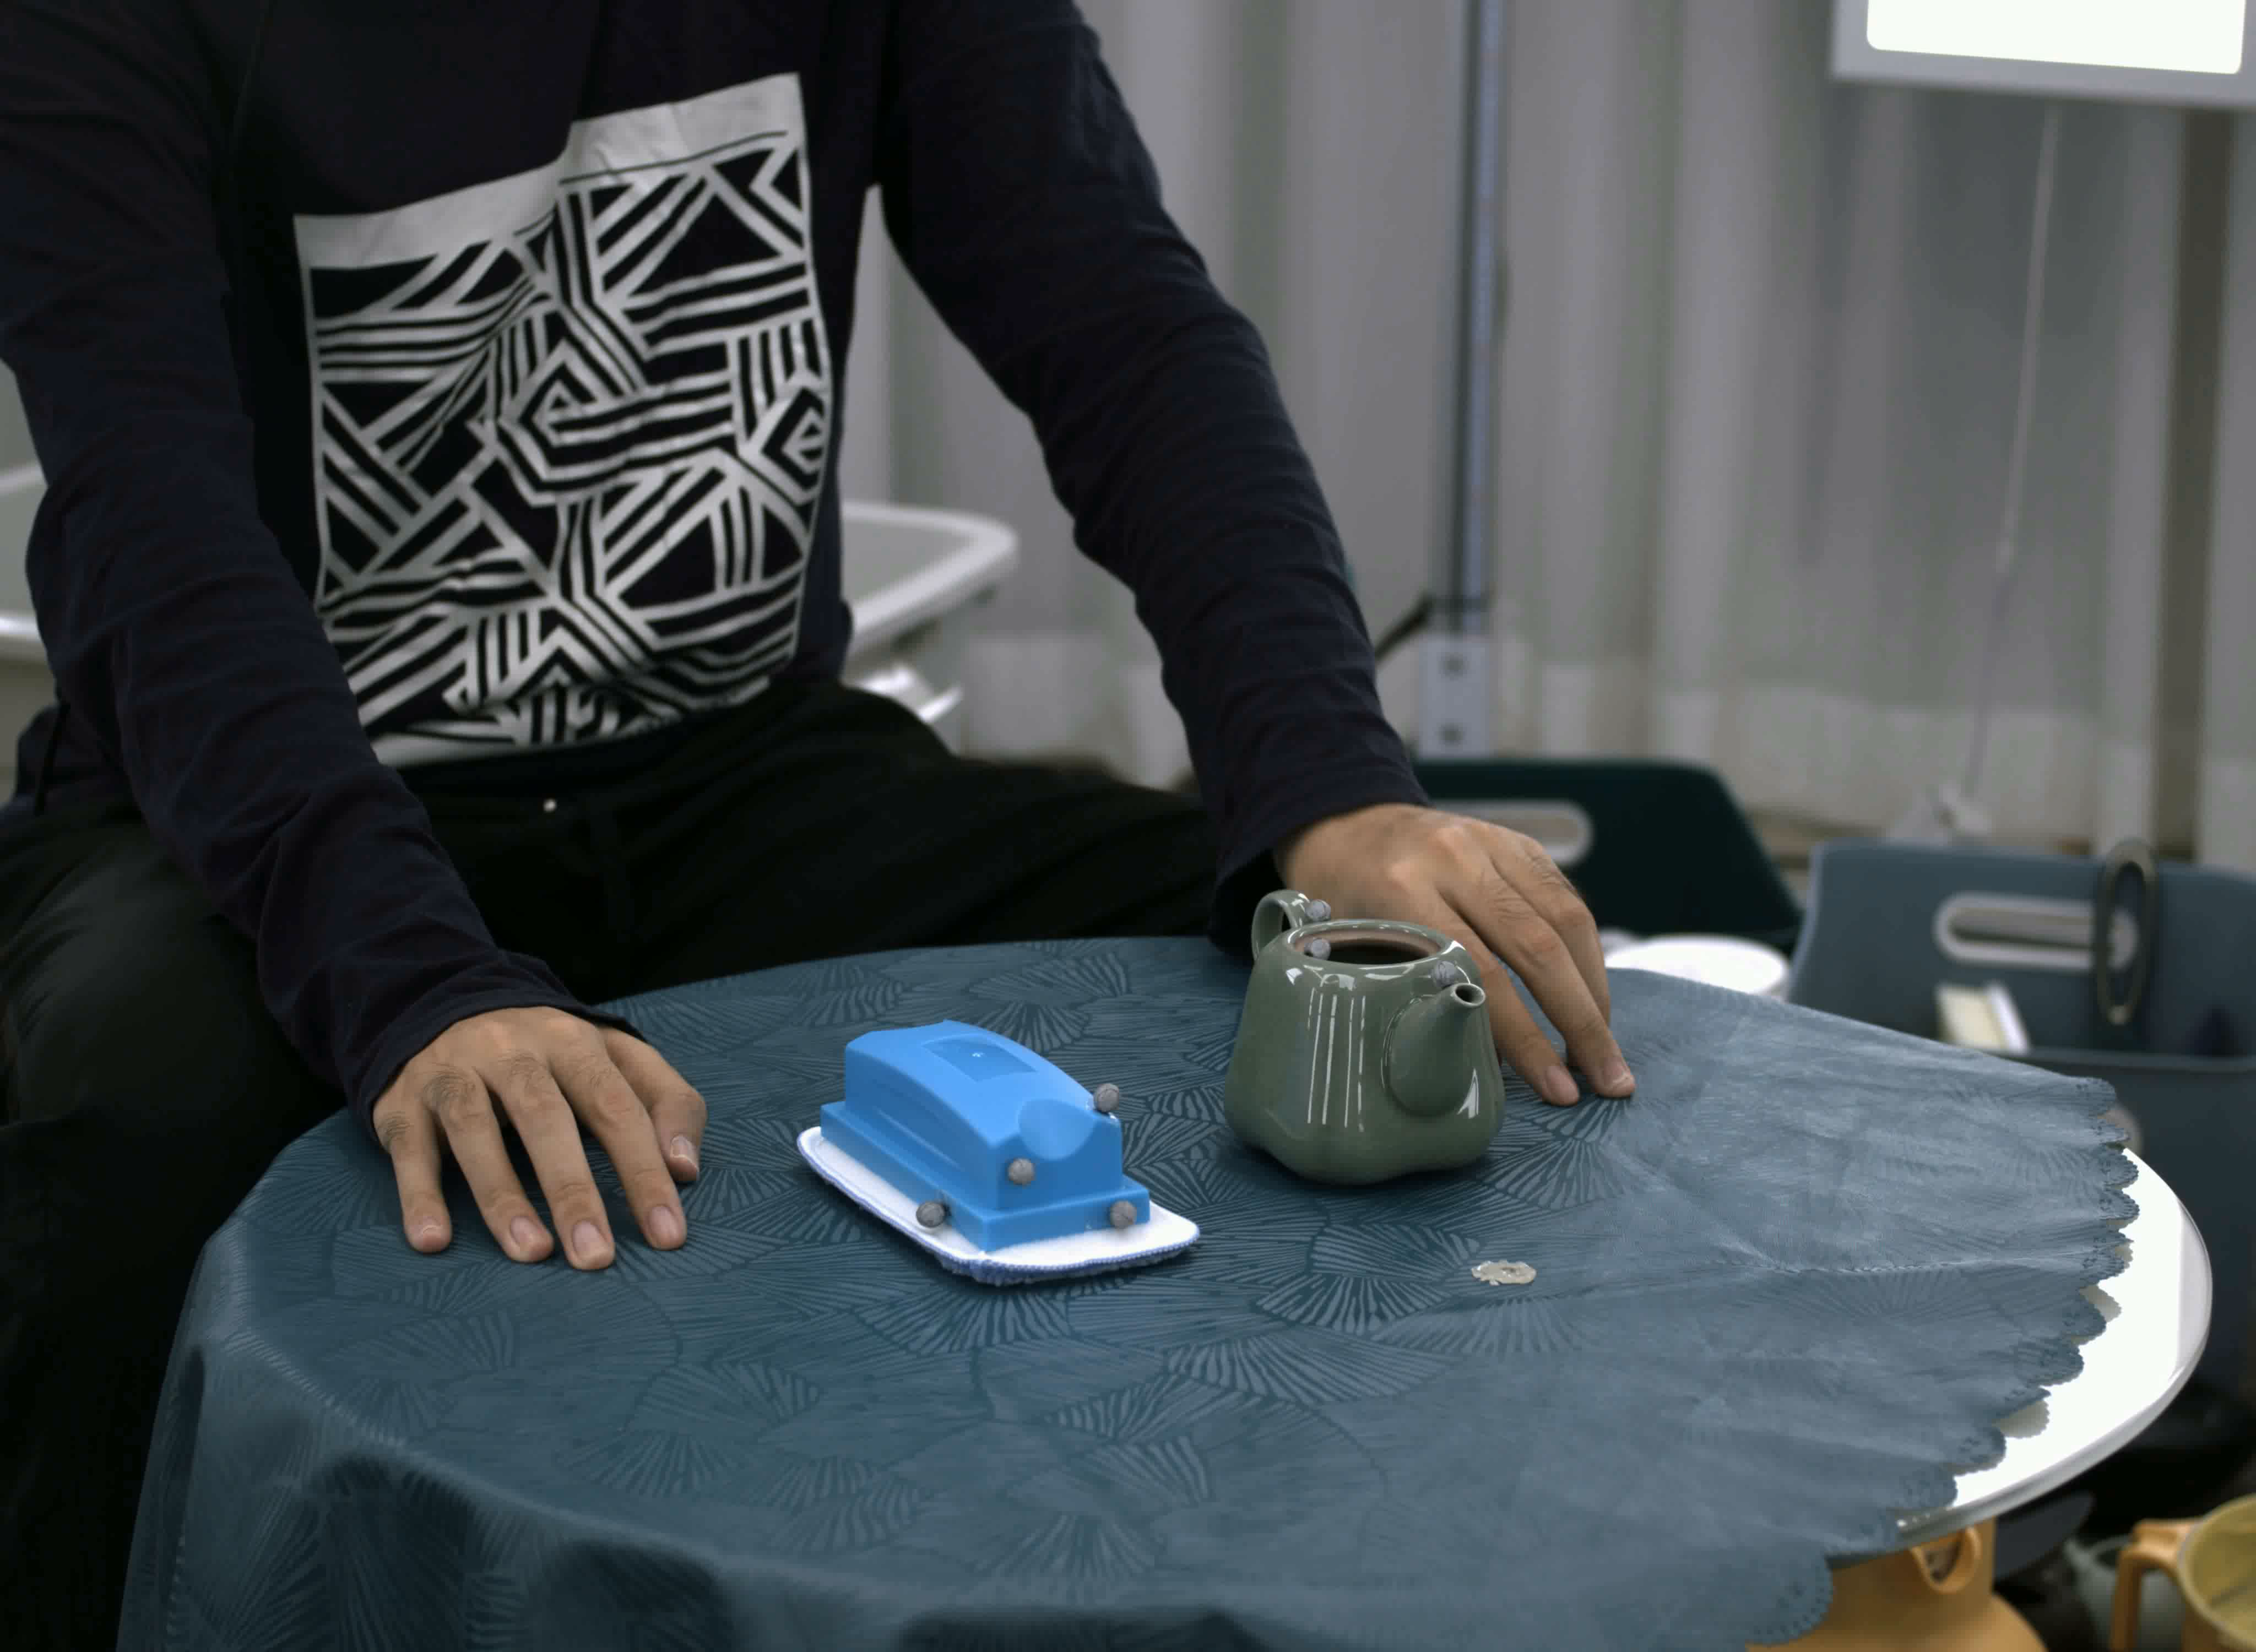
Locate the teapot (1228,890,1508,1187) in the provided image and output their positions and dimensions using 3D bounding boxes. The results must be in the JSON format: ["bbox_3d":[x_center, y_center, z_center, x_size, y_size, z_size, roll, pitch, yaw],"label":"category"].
[{"bbox_3d":[0.075,0.068,1.651,0.080,0.076,0.131,-8,17,-27],"label":"teapot"}]

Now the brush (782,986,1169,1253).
[{"bbox_3d":[-0.046,0.087,1.602,0.084,0.056,0.142,-4,19,-25],"label":"brush"}]
